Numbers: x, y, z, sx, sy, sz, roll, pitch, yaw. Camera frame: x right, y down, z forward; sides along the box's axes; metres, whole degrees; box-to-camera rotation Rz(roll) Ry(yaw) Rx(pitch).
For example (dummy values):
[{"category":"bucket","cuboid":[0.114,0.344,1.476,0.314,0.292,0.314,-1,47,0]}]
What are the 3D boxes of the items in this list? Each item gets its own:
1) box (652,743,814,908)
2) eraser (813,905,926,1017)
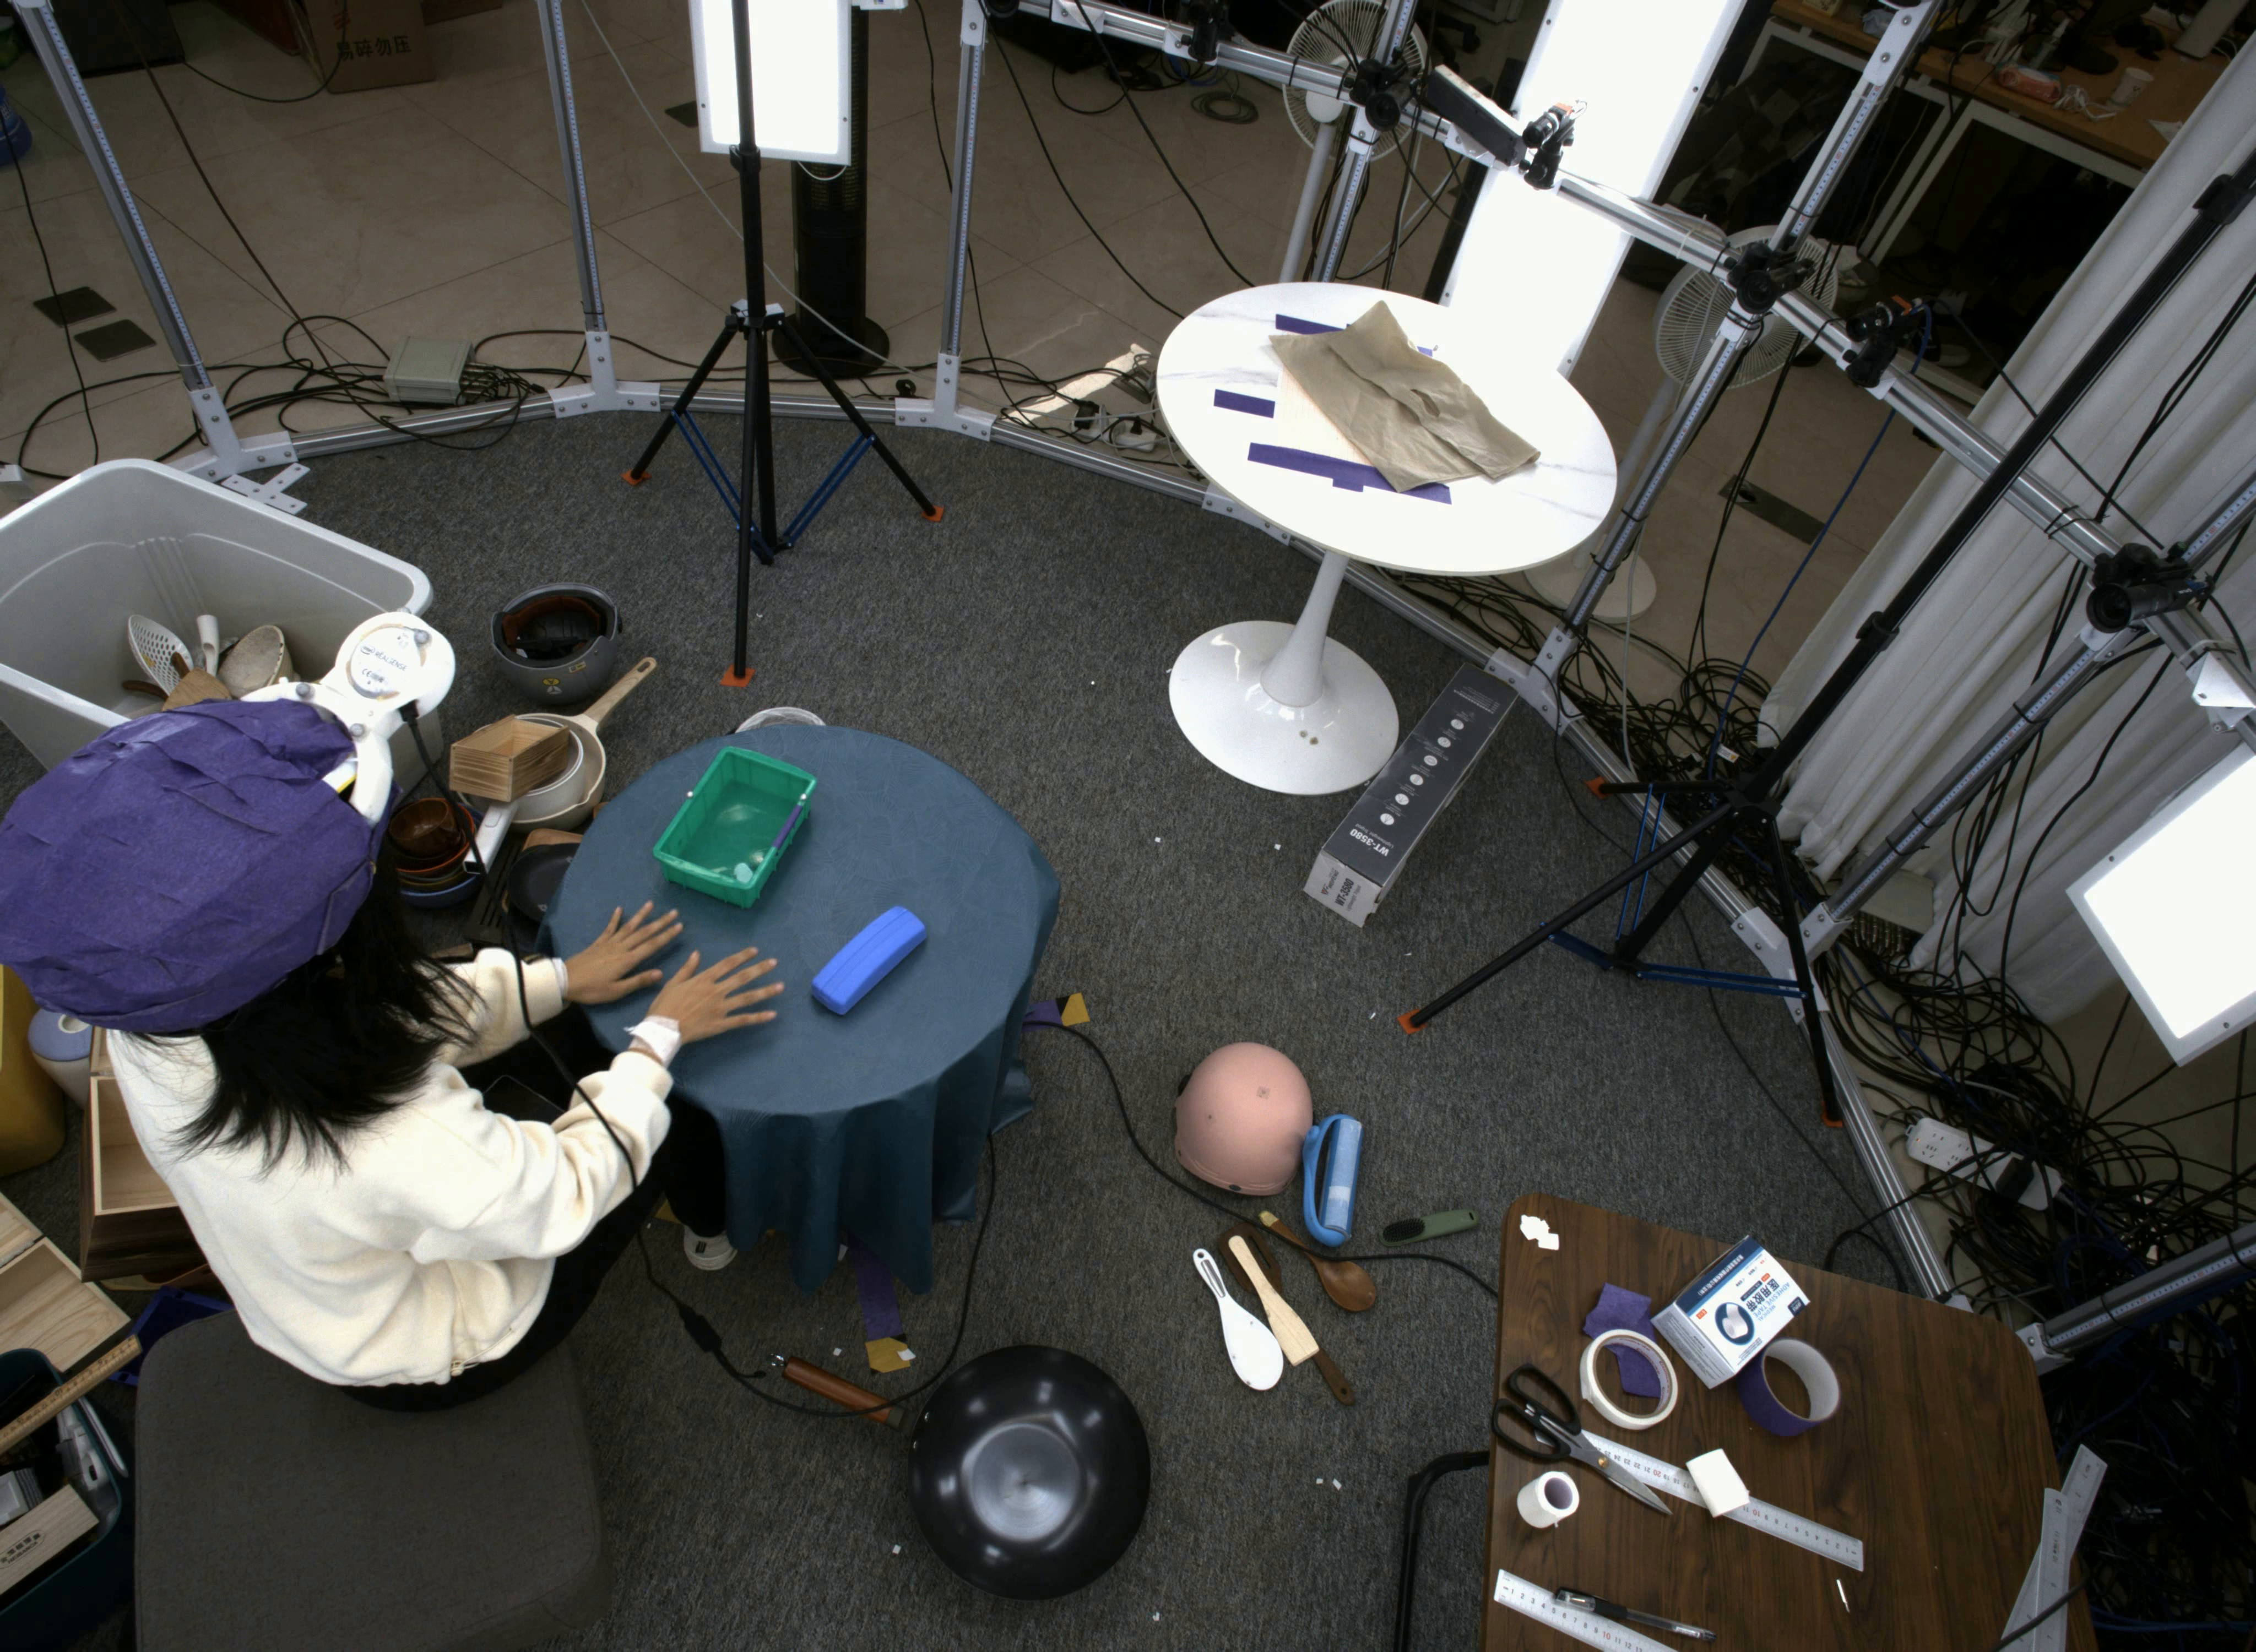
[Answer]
[{"category":"box","cuboid":[-0.503,0.000,1.659,0.138,0.066,0.208,20,51,-2]},{"category":"eraser","cuboid":[-0.317,0.159,1.599,0.053,0.048,0.162,34,53,13]}]
